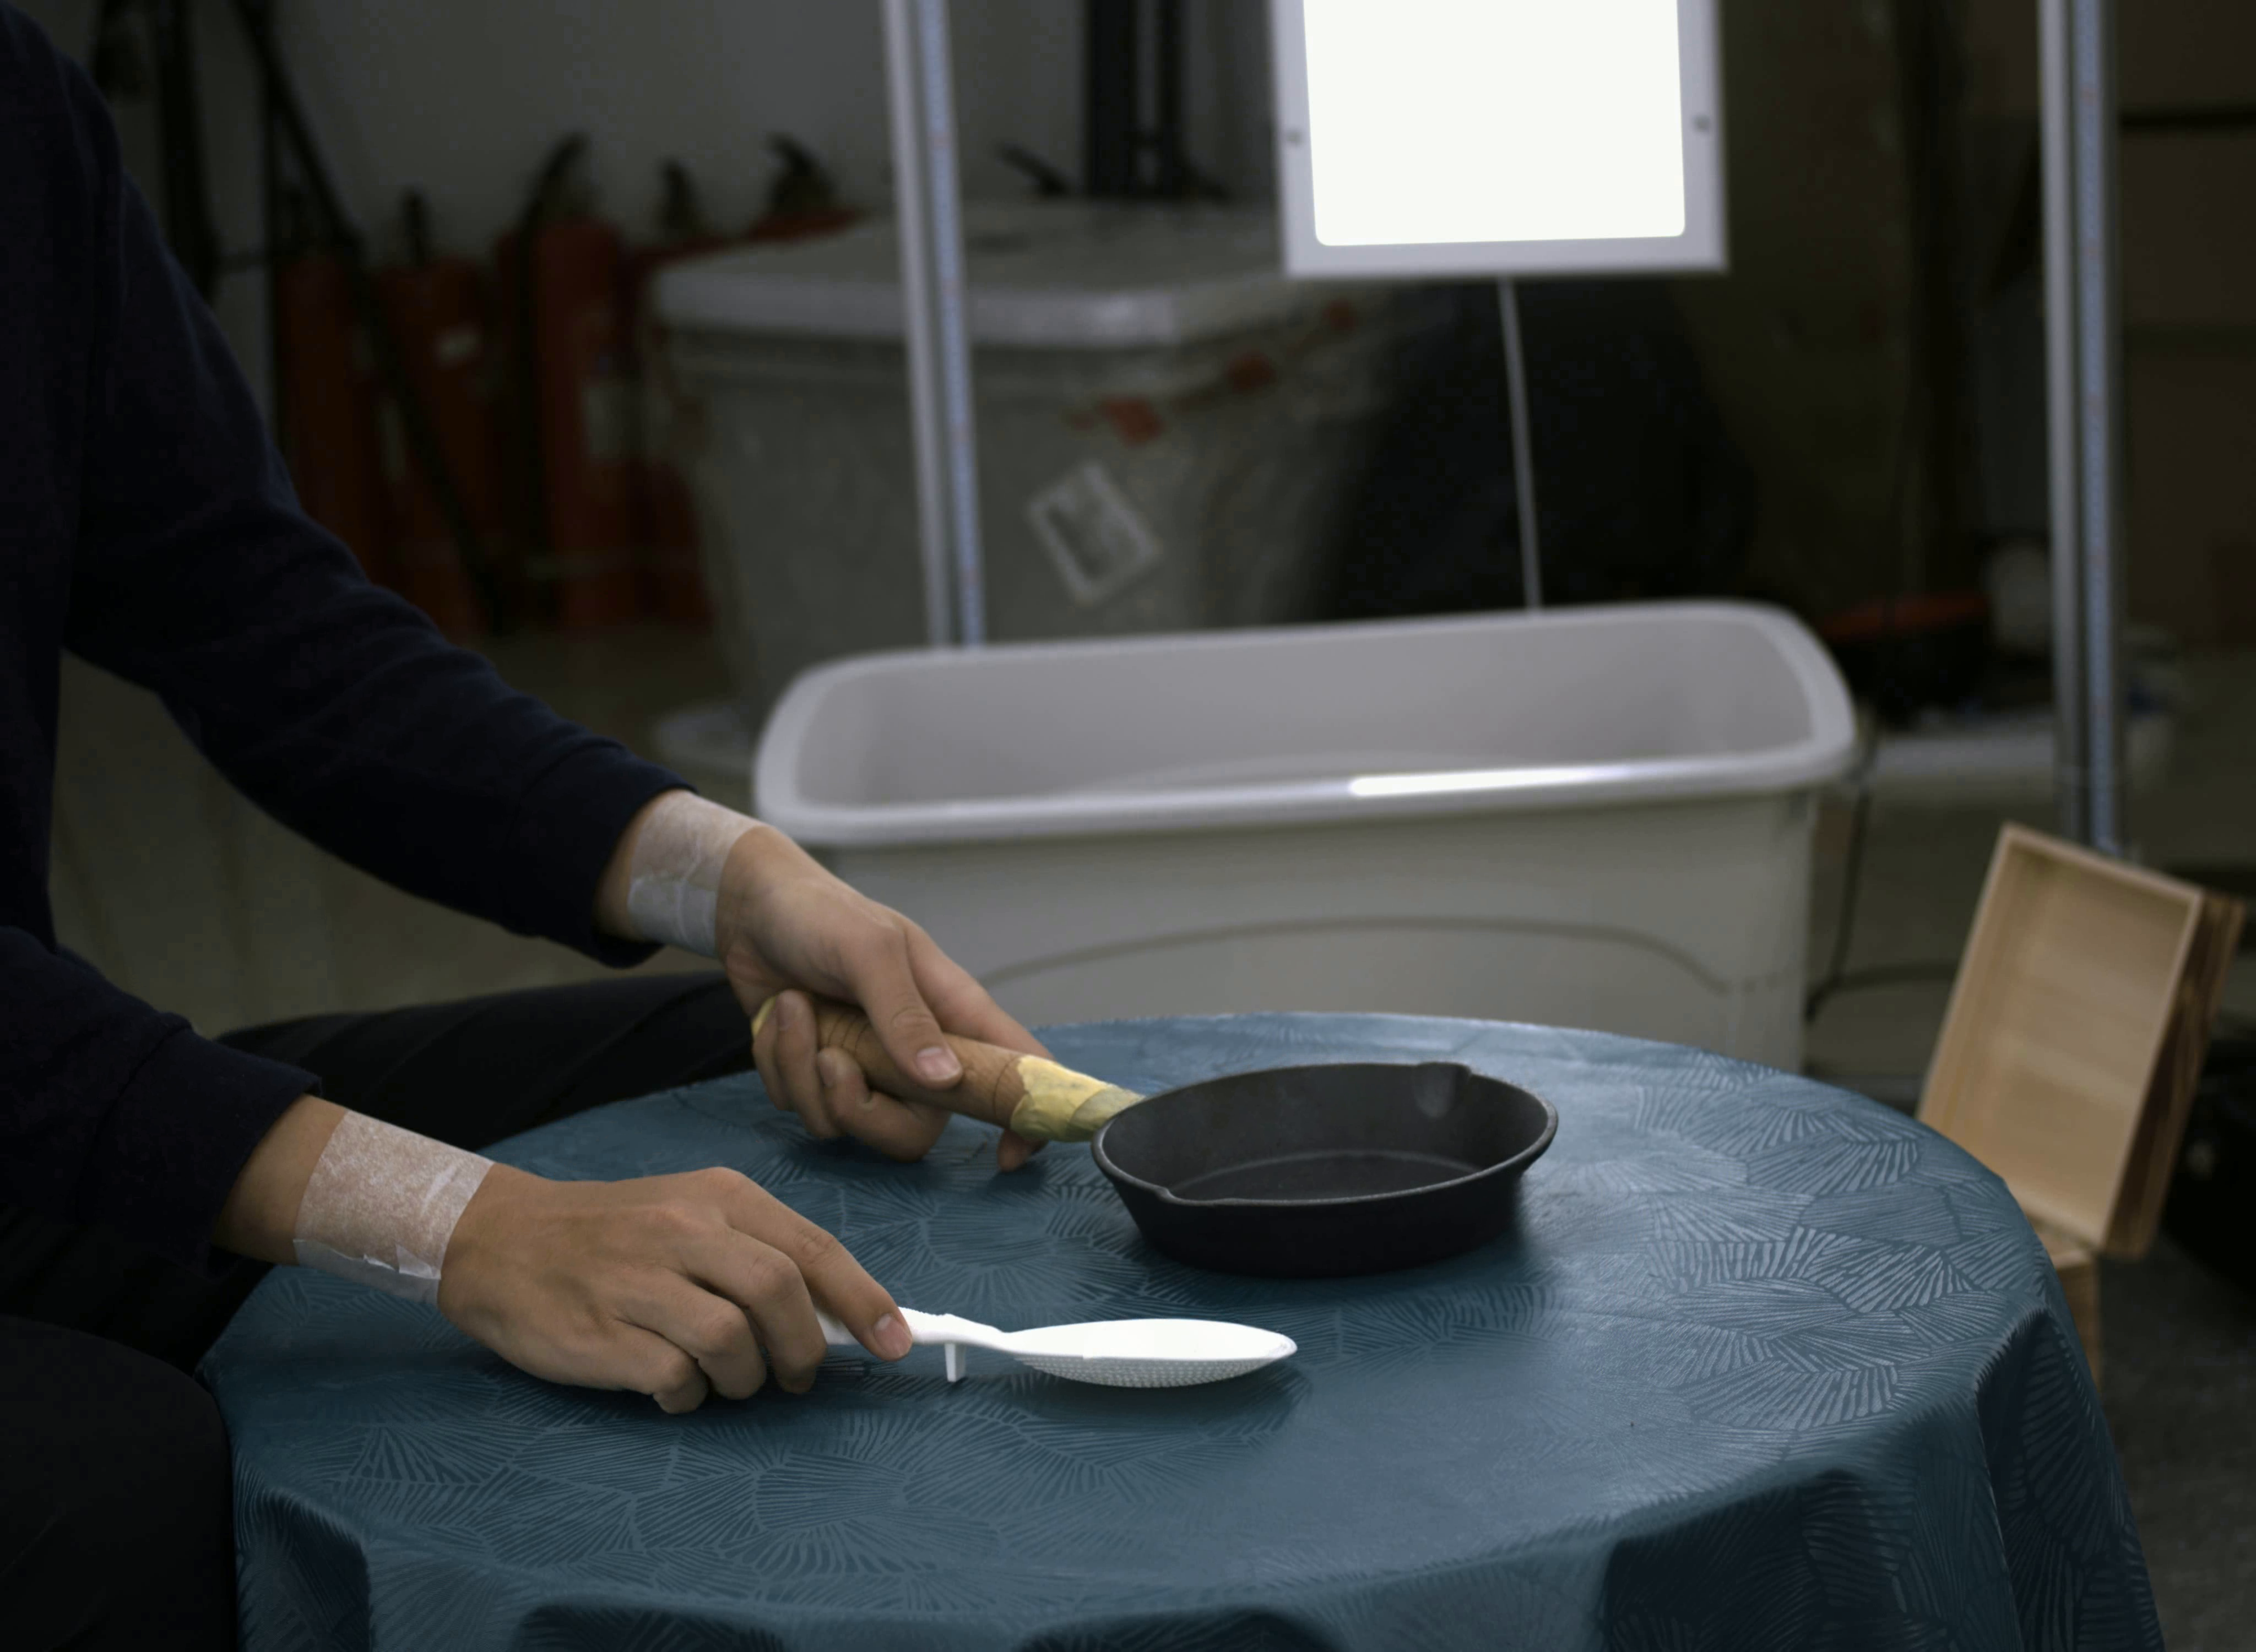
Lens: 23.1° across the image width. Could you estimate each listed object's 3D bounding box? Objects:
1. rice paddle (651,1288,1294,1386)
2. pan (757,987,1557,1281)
[{"bbox_3d":[-0.048,0.159,1.720,0.207,0.029,0.068,-1,6,16],"label":"rice paddle"},{"bbox_3d":[0.000,0.100,1.896,0.331,0.050,0.164,8,19,39],"label":"pan"}]
